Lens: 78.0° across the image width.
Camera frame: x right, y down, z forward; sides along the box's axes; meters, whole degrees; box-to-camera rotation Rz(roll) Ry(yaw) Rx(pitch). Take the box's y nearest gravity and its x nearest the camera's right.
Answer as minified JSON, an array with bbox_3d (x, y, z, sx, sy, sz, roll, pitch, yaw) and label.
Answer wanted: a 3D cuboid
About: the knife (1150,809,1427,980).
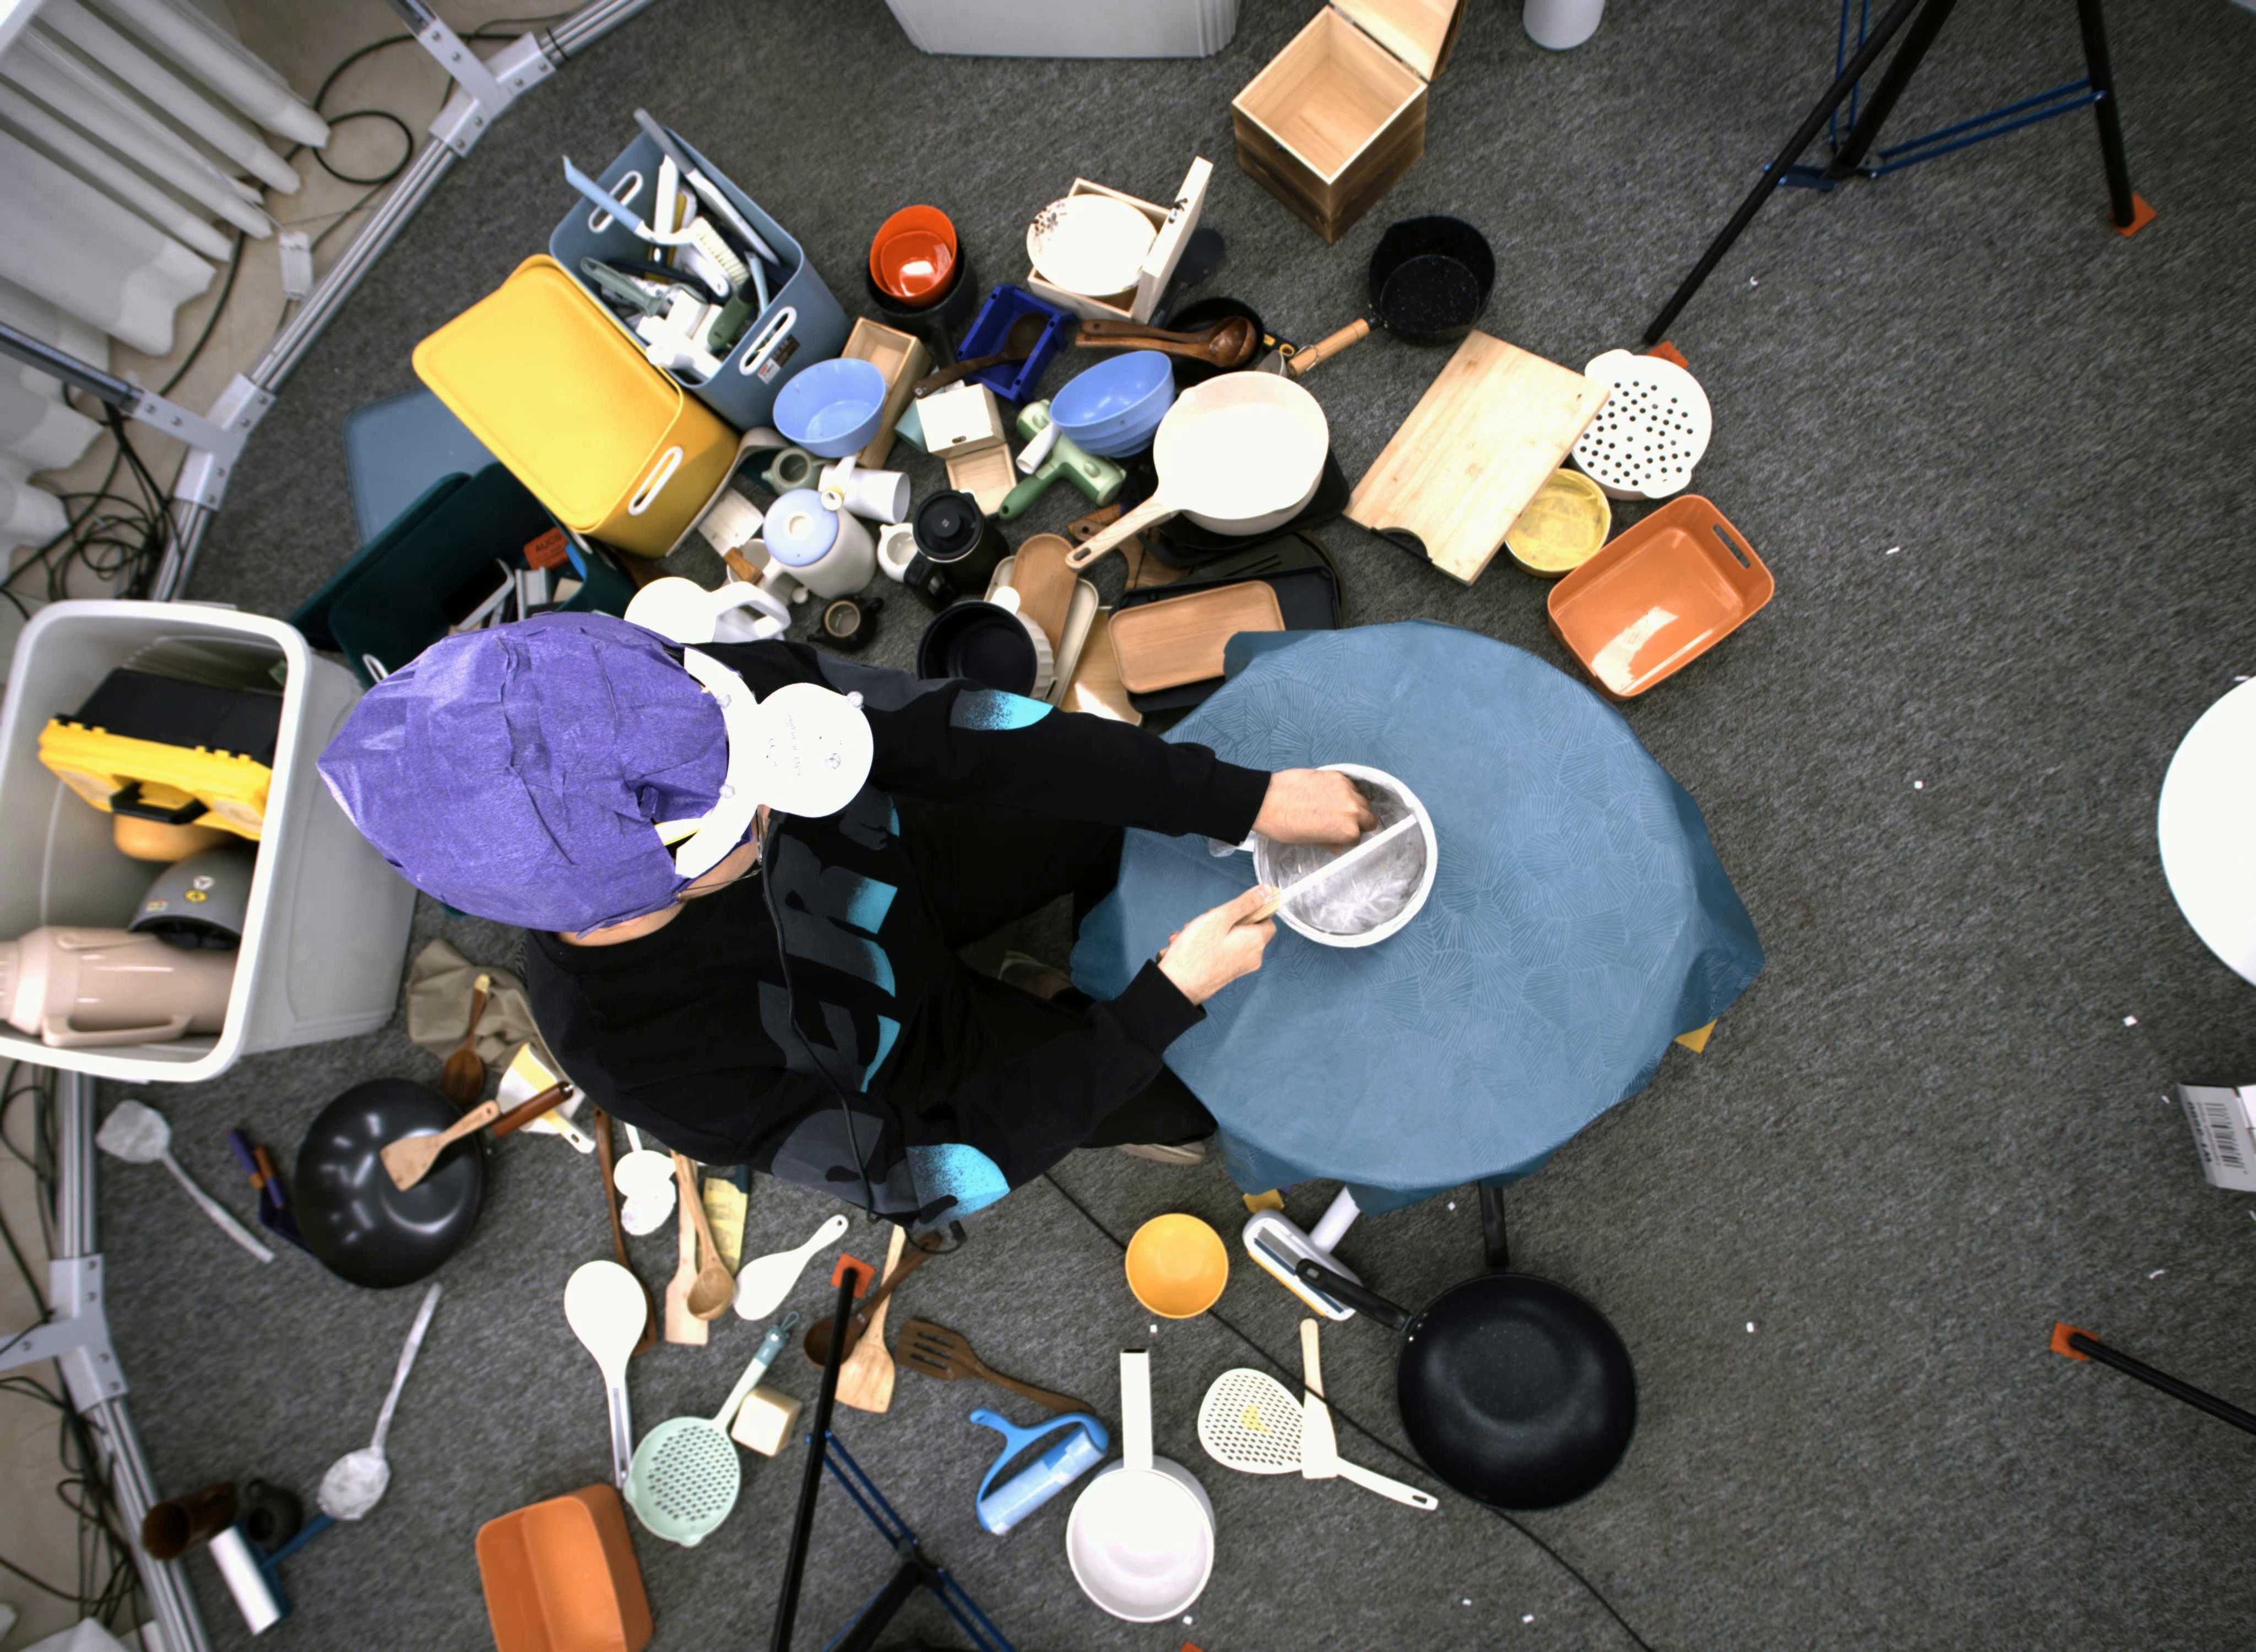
[{"bbox_3d":[0.153,0.060,1.284,0.312,0.116,0.021,-28,78,-19],"label":"knife"}]

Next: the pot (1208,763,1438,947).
[{"bbox_3d":[0.194,0.028,1.407,0.234,0.137,0.178,9,87,10],"label":"pot"}]
